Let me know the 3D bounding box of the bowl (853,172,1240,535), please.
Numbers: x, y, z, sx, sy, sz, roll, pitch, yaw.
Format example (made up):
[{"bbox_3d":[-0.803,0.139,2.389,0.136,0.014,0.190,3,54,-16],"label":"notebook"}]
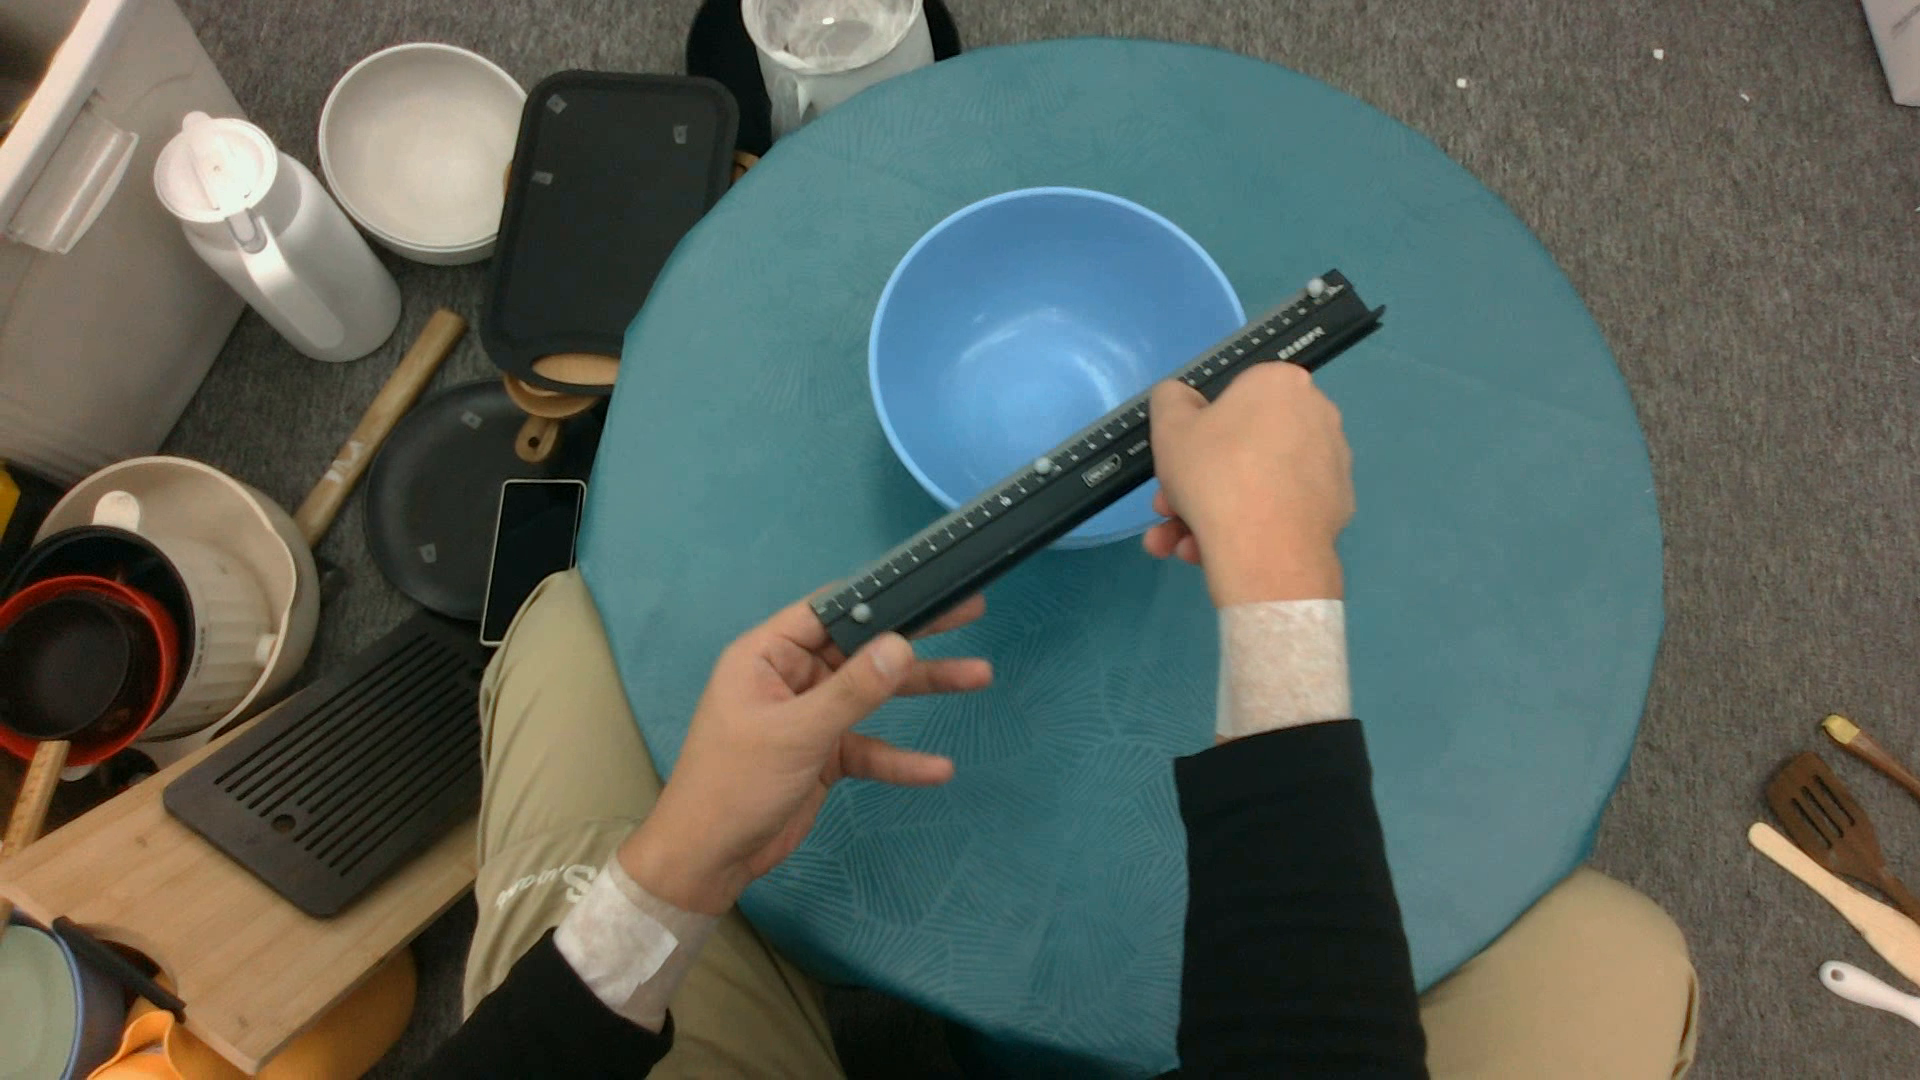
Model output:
[{"bbox_3d":[0.042,-0.086,0.736,0.196,0.095,0.197,1,73,-3],"label":"bowl"}]

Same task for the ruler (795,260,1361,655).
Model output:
[{"bbox_3d":[0.063,-0.048,0.637,0.313,0.017,0.039,-33,80,-16],"label":"ruler"}]
